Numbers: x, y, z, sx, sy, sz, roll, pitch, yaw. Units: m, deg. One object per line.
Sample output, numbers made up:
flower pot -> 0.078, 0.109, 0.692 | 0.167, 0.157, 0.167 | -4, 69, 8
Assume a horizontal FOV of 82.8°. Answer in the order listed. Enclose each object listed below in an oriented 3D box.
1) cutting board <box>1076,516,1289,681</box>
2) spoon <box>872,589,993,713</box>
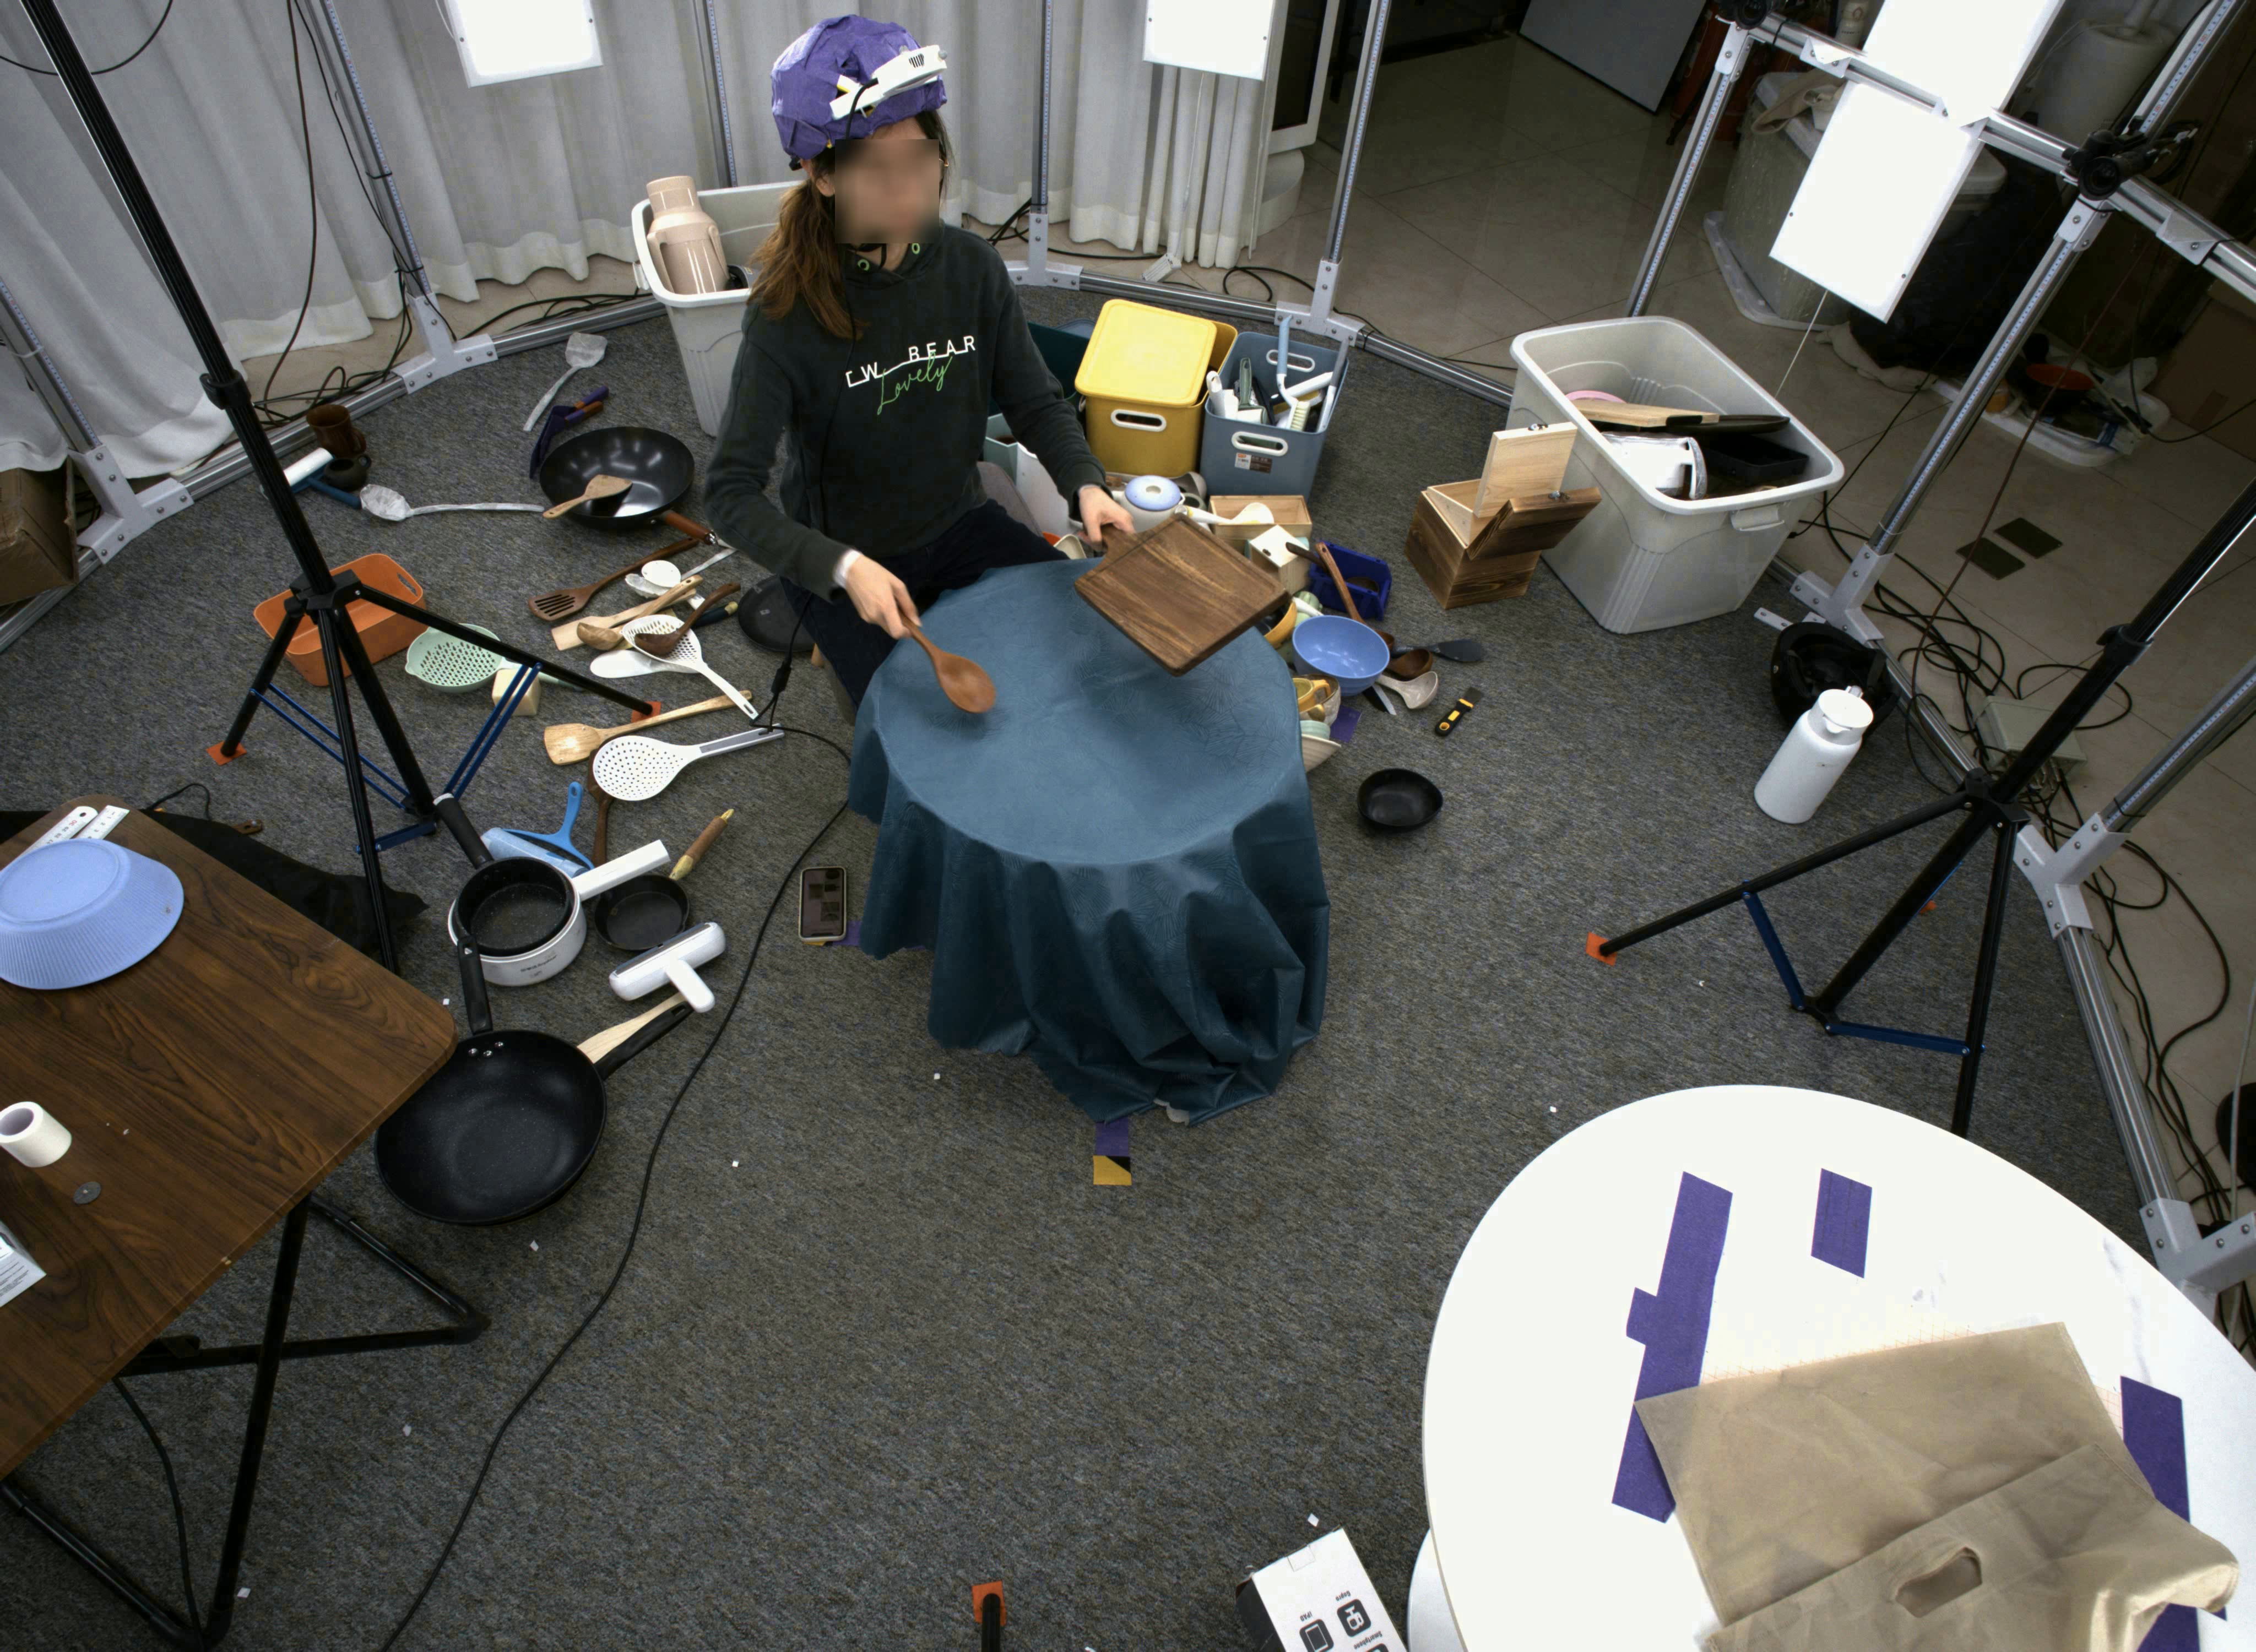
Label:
cutting board -> 0.044, -0.348, 1.807 | 0.202, 0.022, 0.359 | -36, 50, -11
spoon -> -0.269, -0.240, 1.761 | 0.215, 0.017, 0.076 | 47, 53, -5
